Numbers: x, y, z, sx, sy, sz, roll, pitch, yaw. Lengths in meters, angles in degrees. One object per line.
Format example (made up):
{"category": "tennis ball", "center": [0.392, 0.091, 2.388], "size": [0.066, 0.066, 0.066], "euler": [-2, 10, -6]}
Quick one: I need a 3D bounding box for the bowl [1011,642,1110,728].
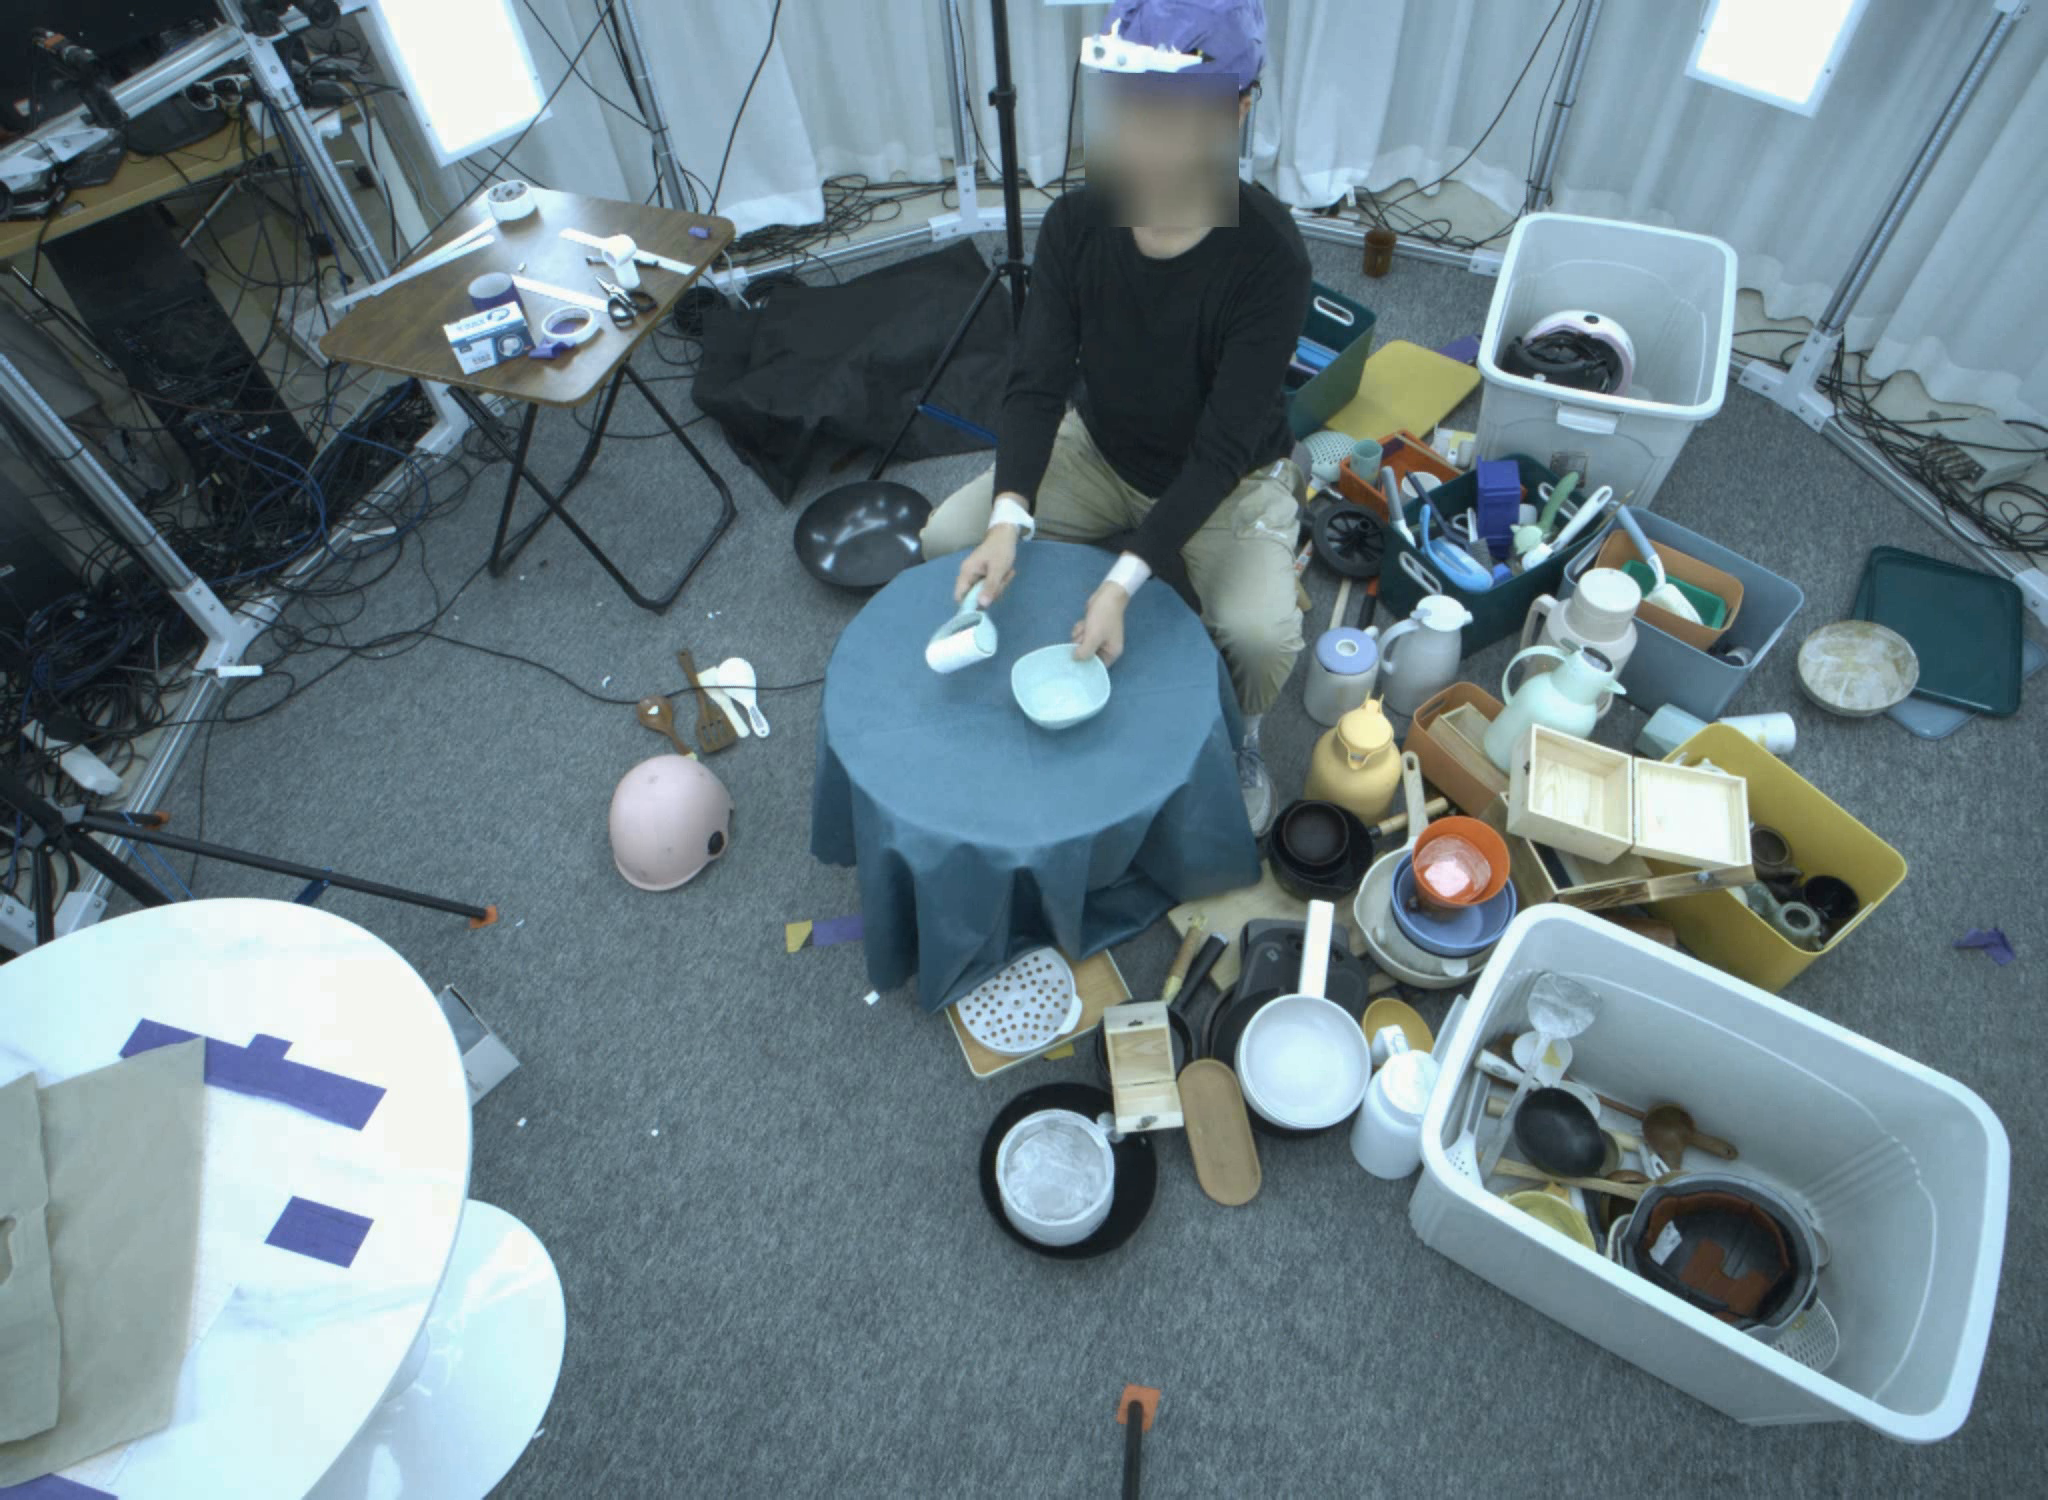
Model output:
{"category": "bowl", "center": [0.054, -0.085, 1.812], "size": [0.151, 0.059, 0.150], "euler": [-1, 56, 2]}

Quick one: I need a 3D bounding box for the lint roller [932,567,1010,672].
{"category": "lint roller", "center": [-0.065, -0.208, 1.816], "size": [0.114, 0.049, 0.197], "euler": [-18, 43, 43]}
